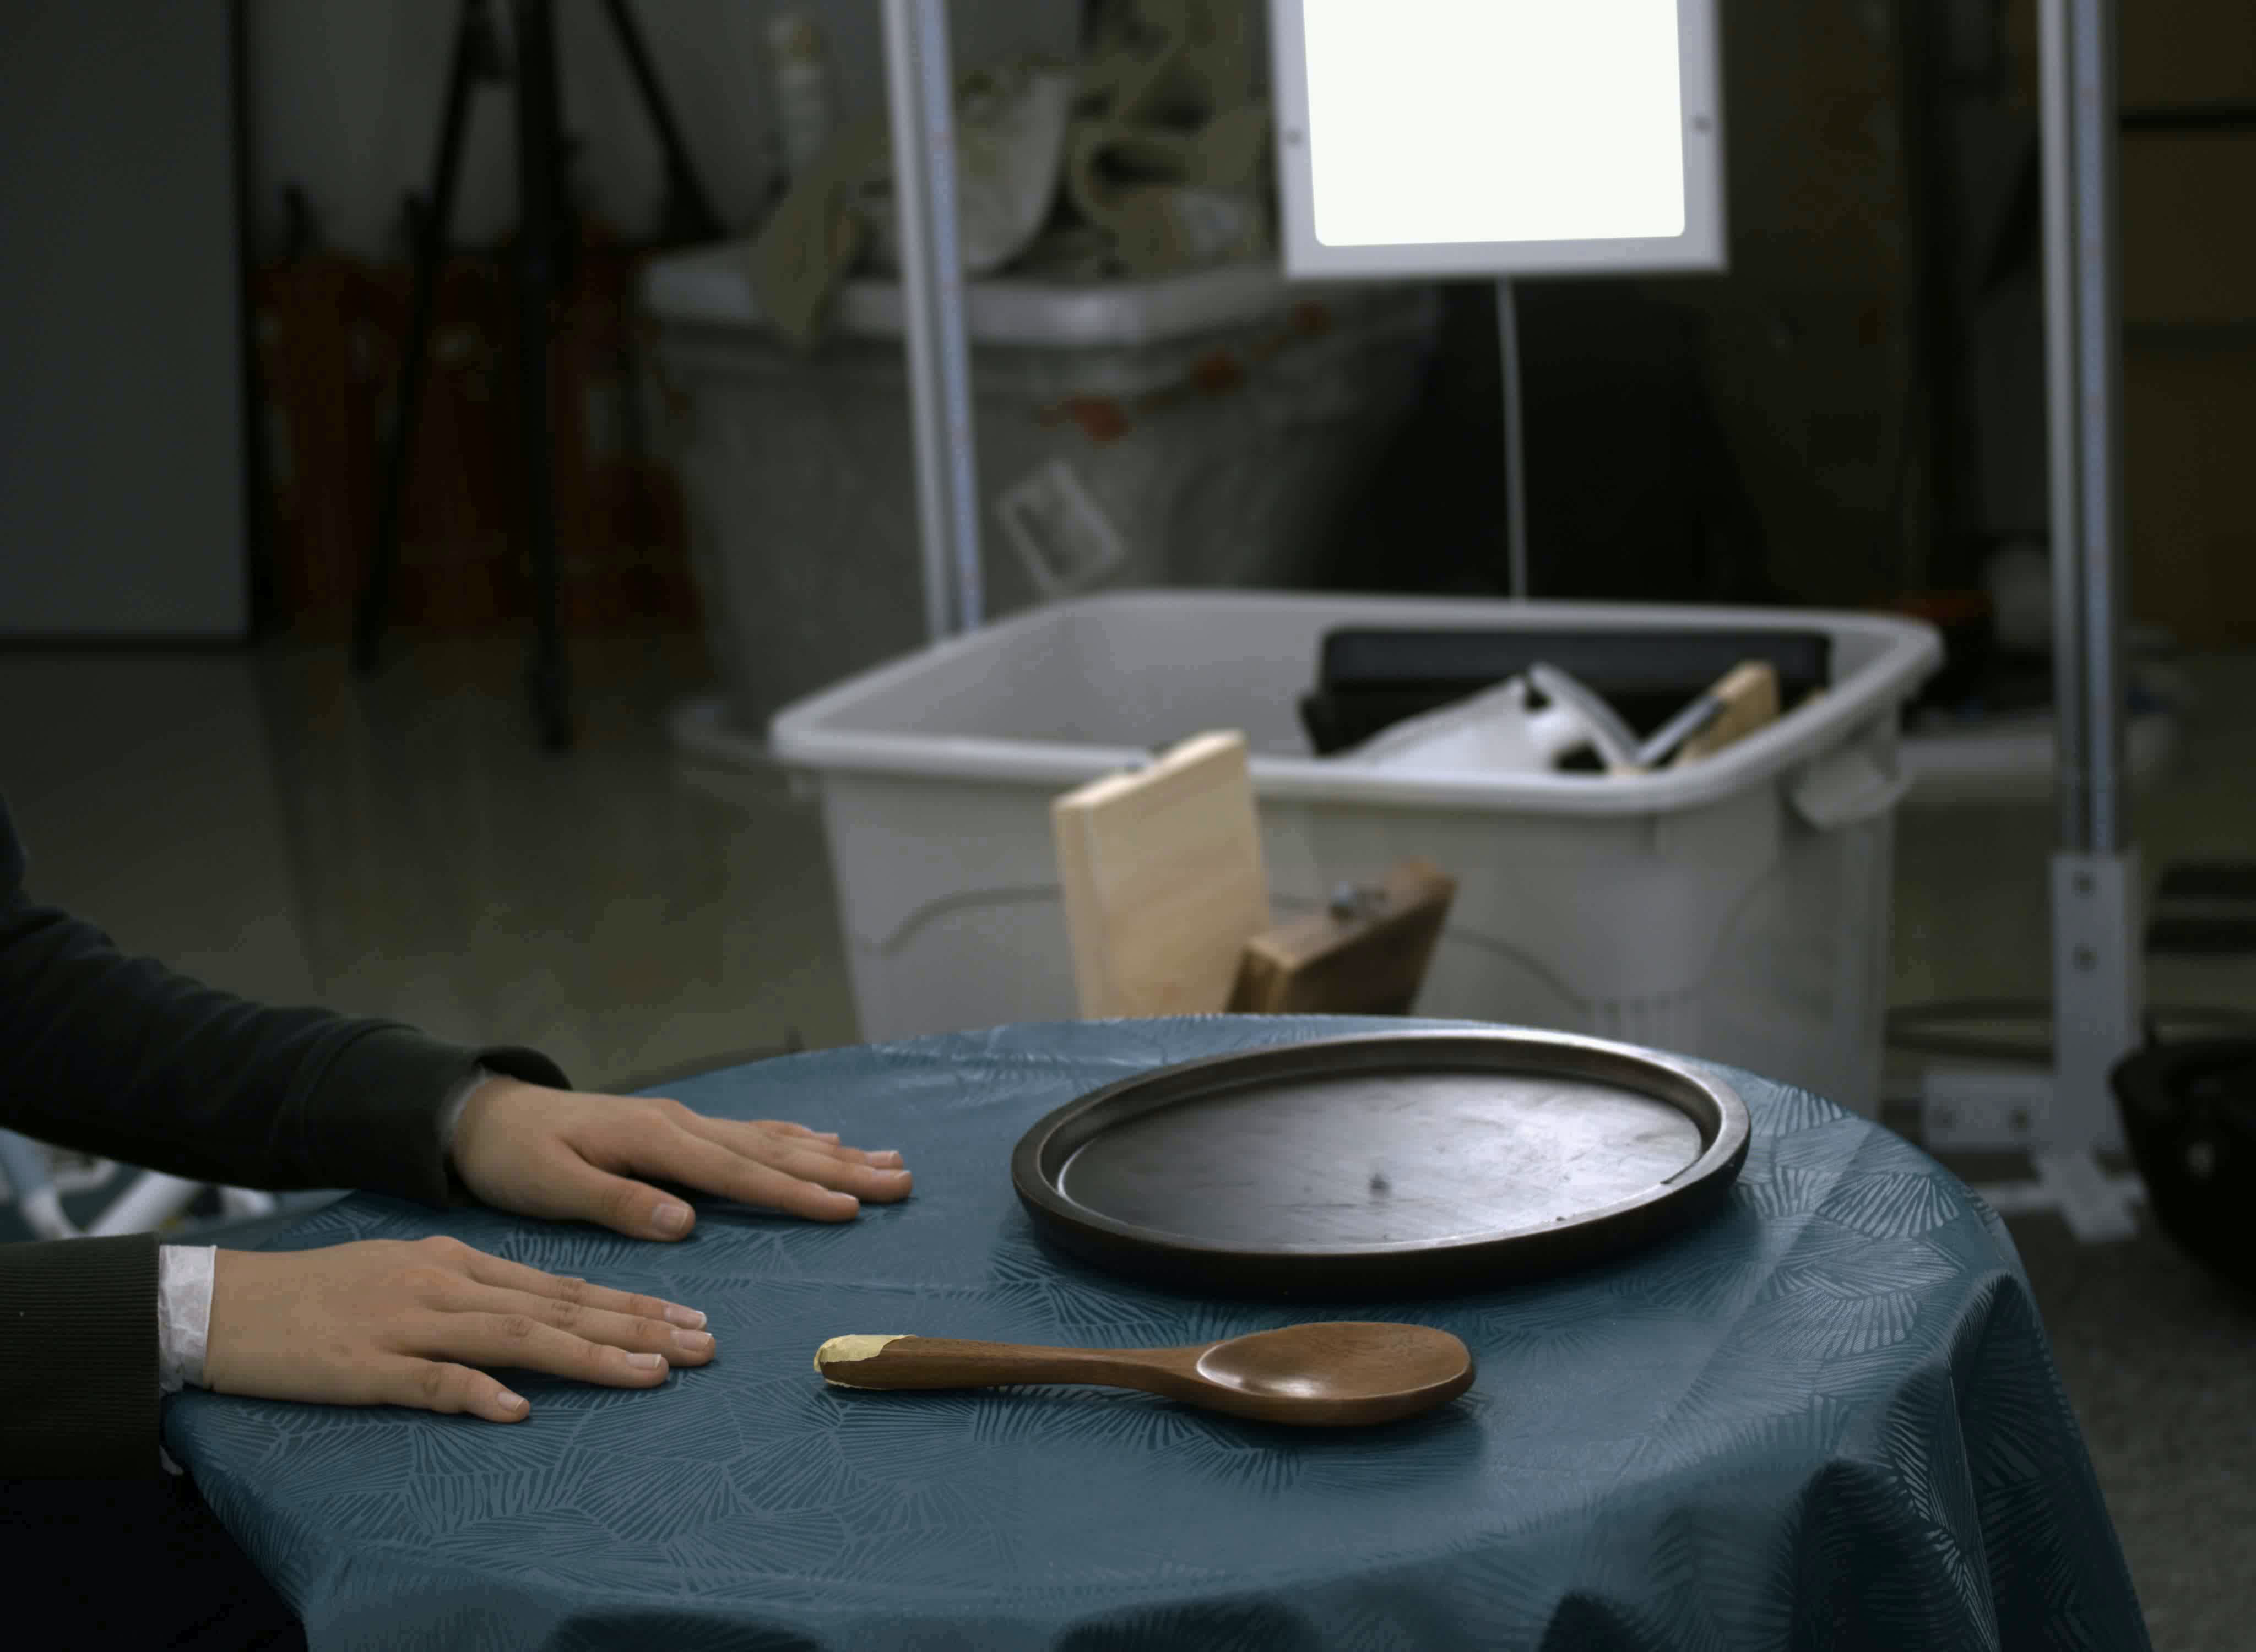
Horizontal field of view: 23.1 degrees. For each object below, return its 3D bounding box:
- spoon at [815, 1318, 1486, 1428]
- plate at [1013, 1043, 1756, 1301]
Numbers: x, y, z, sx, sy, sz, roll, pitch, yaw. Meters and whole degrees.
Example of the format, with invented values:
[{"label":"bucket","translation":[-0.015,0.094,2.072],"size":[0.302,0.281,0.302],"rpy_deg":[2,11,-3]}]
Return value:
[{"label":"spoon","translation":[0.005,0.167,1.692],"size":[0.219,0.017,0.074],"rpy_deg":[1,15,21]},{"label":"plate","translation":[0.087,0.115,1.868],"size":[0.254,0.029,0.254],"rpy_deg":[-4,13,0]}]
